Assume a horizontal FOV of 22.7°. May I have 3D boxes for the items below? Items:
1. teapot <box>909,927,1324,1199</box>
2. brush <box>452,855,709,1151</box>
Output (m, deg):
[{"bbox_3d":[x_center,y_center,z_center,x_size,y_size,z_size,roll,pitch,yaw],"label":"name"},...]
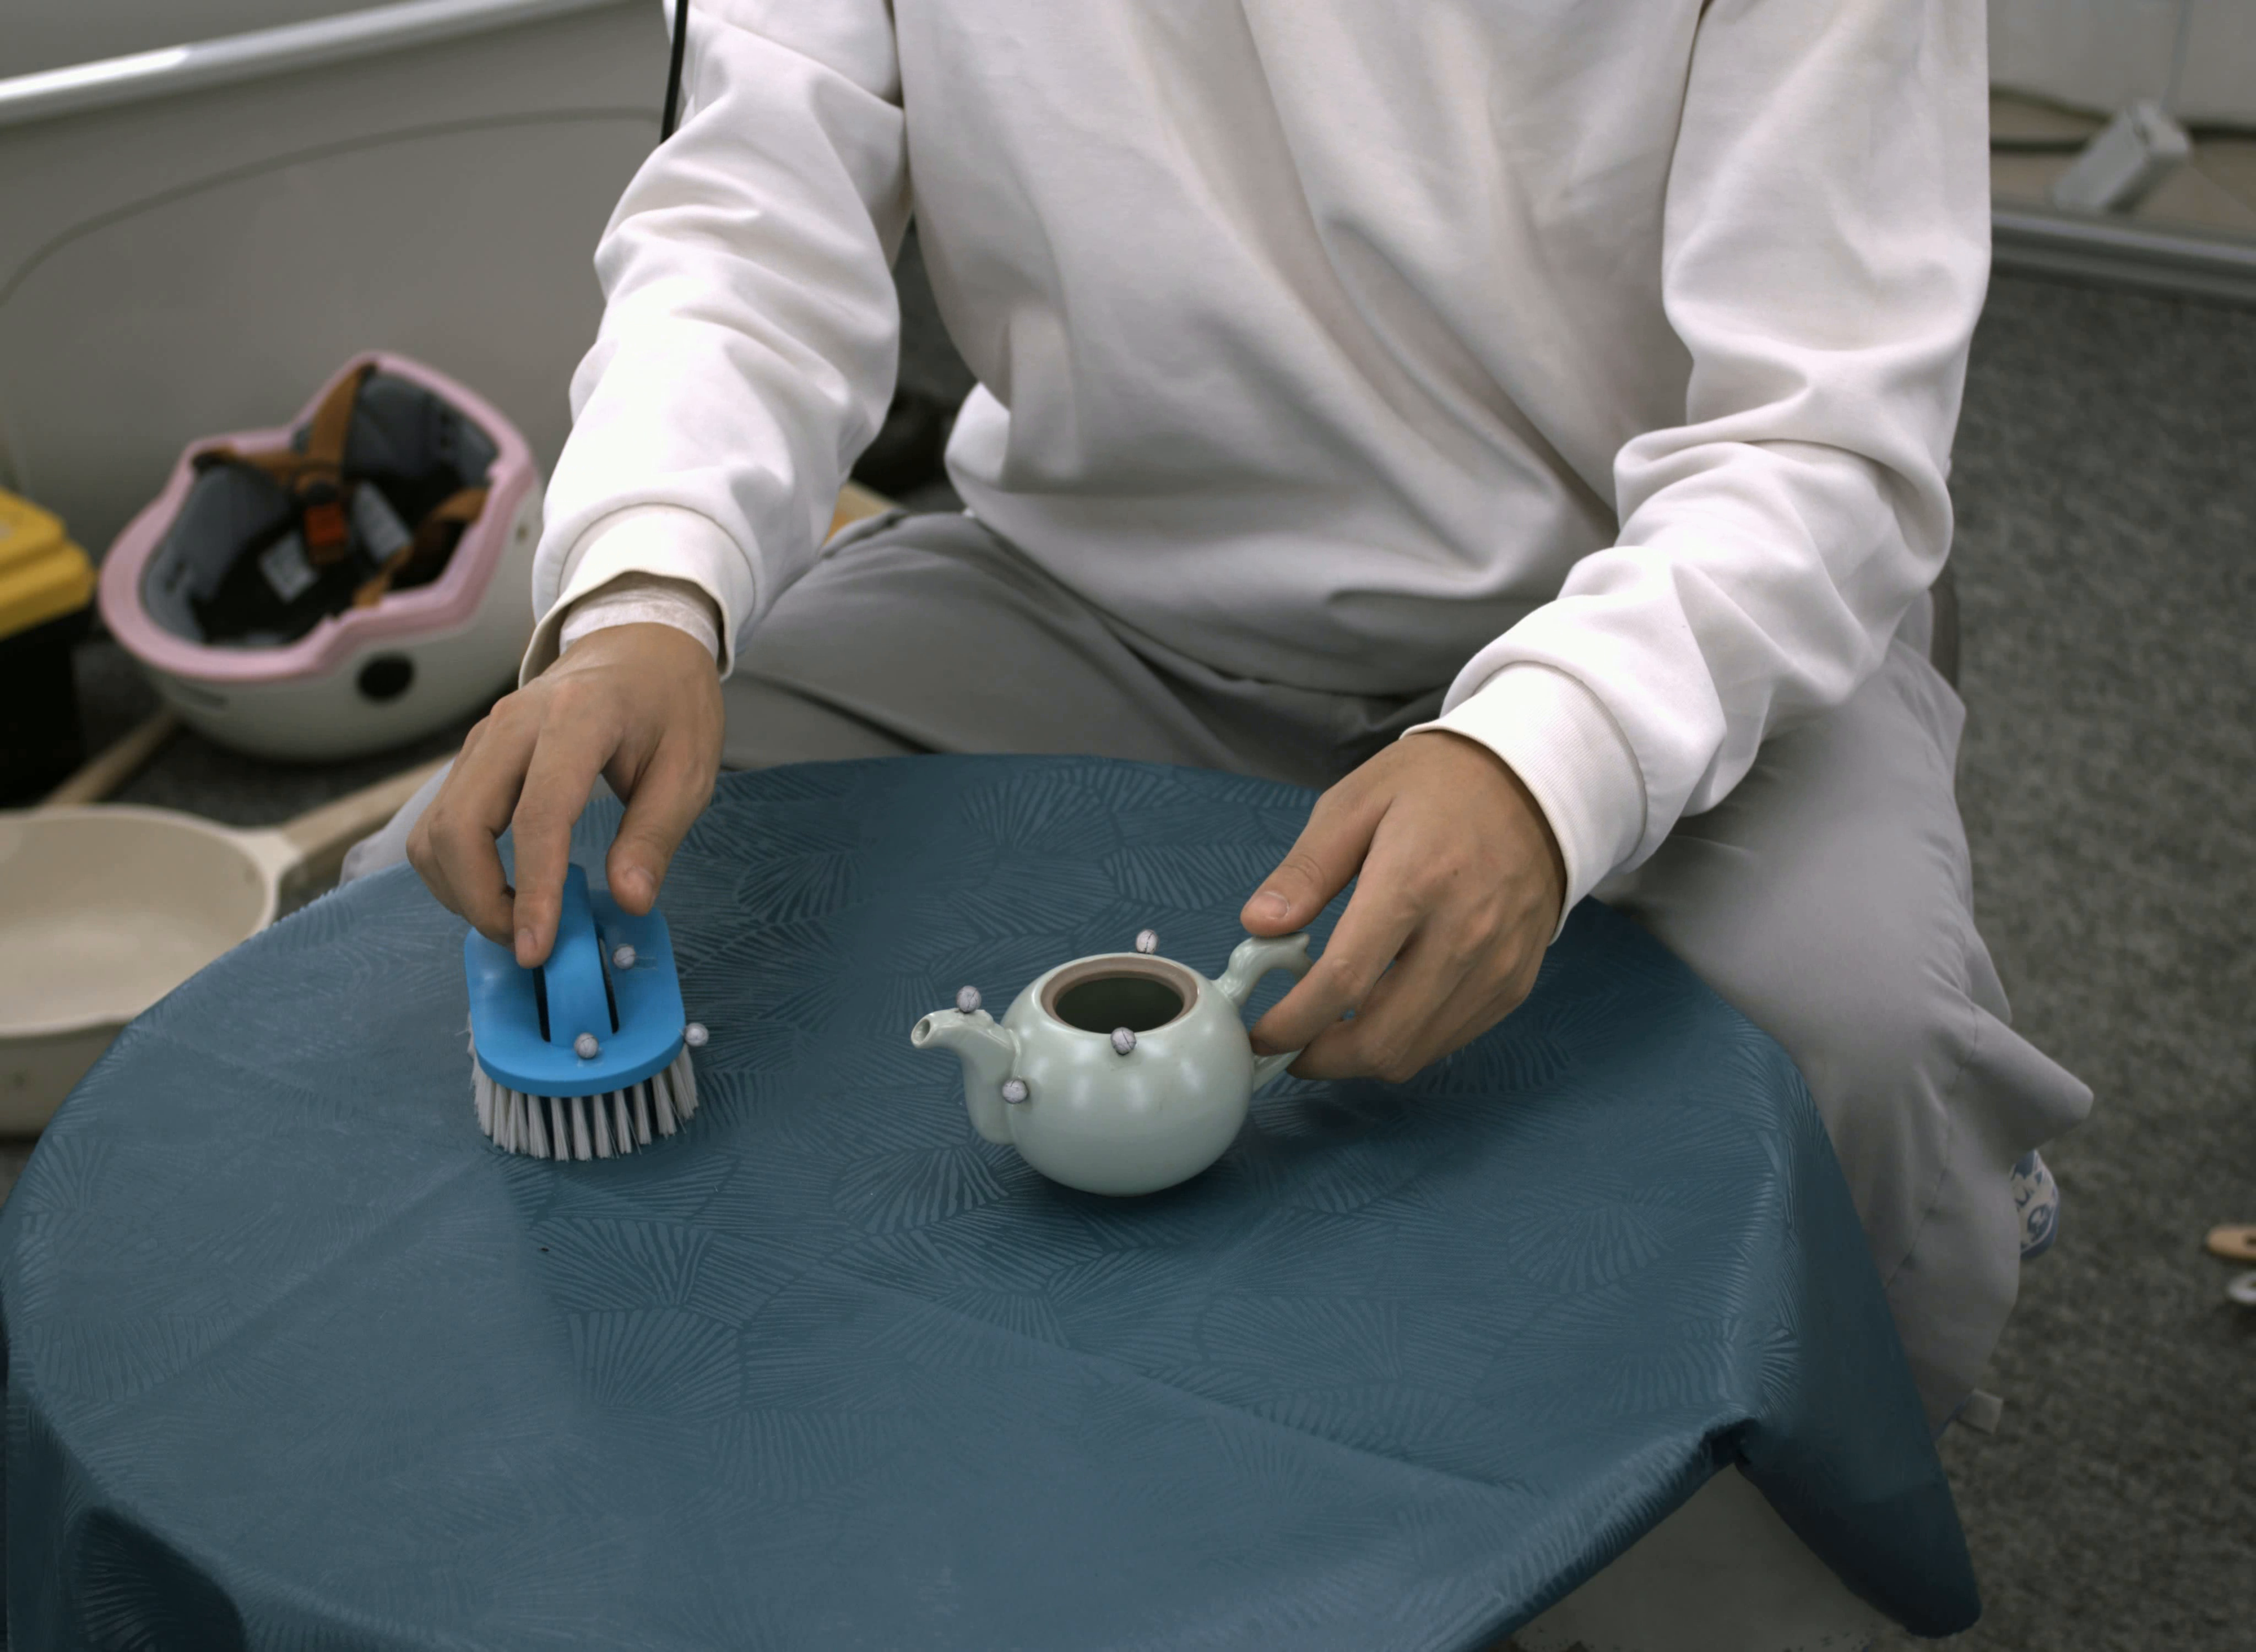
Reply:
[{"bbox_3d":[-0.001,0.082,1.864,0.144,0.074,0.089,-13,27,-14],"label":"teapot"},{"bbox_3d":[-0.193,0.053,1.944,0.084,0.063,0.143,-10,27,-4],"label":"brush"}]
